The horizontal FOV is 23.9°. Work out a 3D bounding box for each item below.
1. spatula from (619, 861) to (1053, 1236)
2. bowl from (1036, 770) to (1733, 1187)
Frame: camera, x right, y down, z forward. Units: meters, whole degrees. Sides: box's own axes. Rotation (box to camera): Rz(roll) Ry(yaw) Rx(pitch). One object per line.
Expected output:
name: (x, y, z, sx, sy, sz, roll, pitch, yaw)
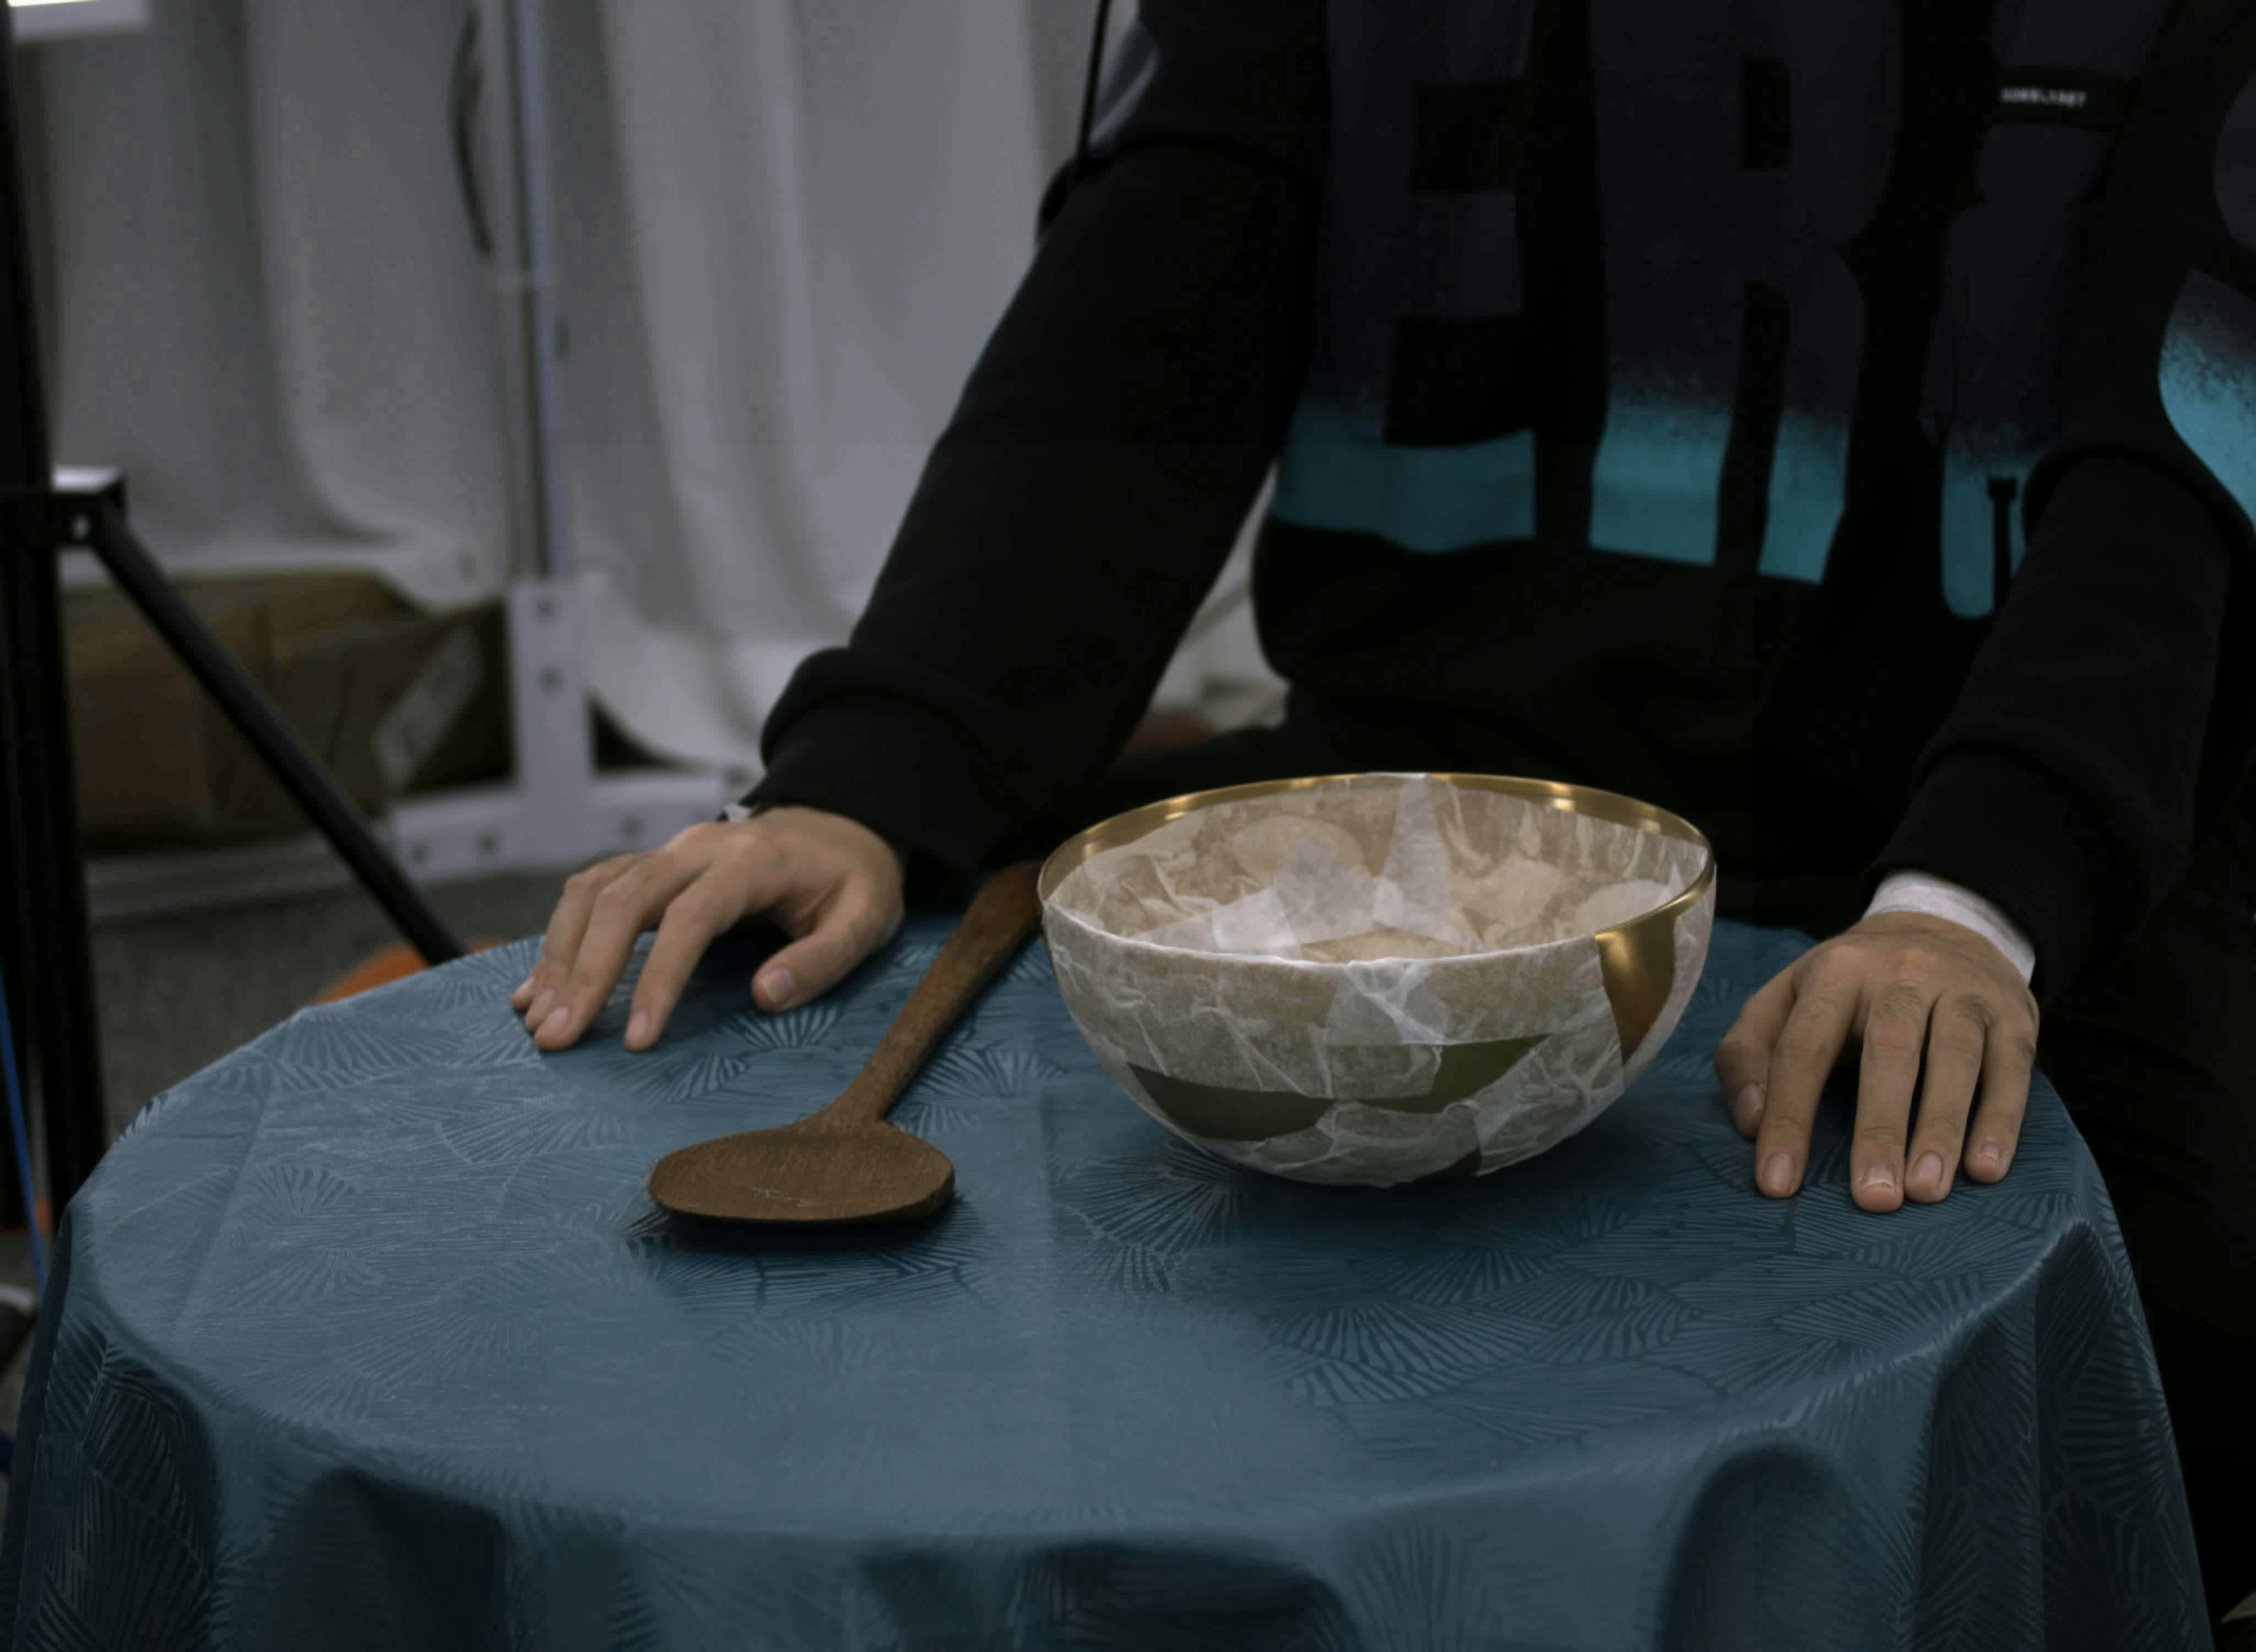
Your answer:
spatula: (-0.068, 0.065, 1.697, 0.096, 0.016, 0.384, 1, 16, 12)
bowl: (0.077, 0.053, 1.571, 0.213, 0.094, 0.216, -3, 14, -1)
